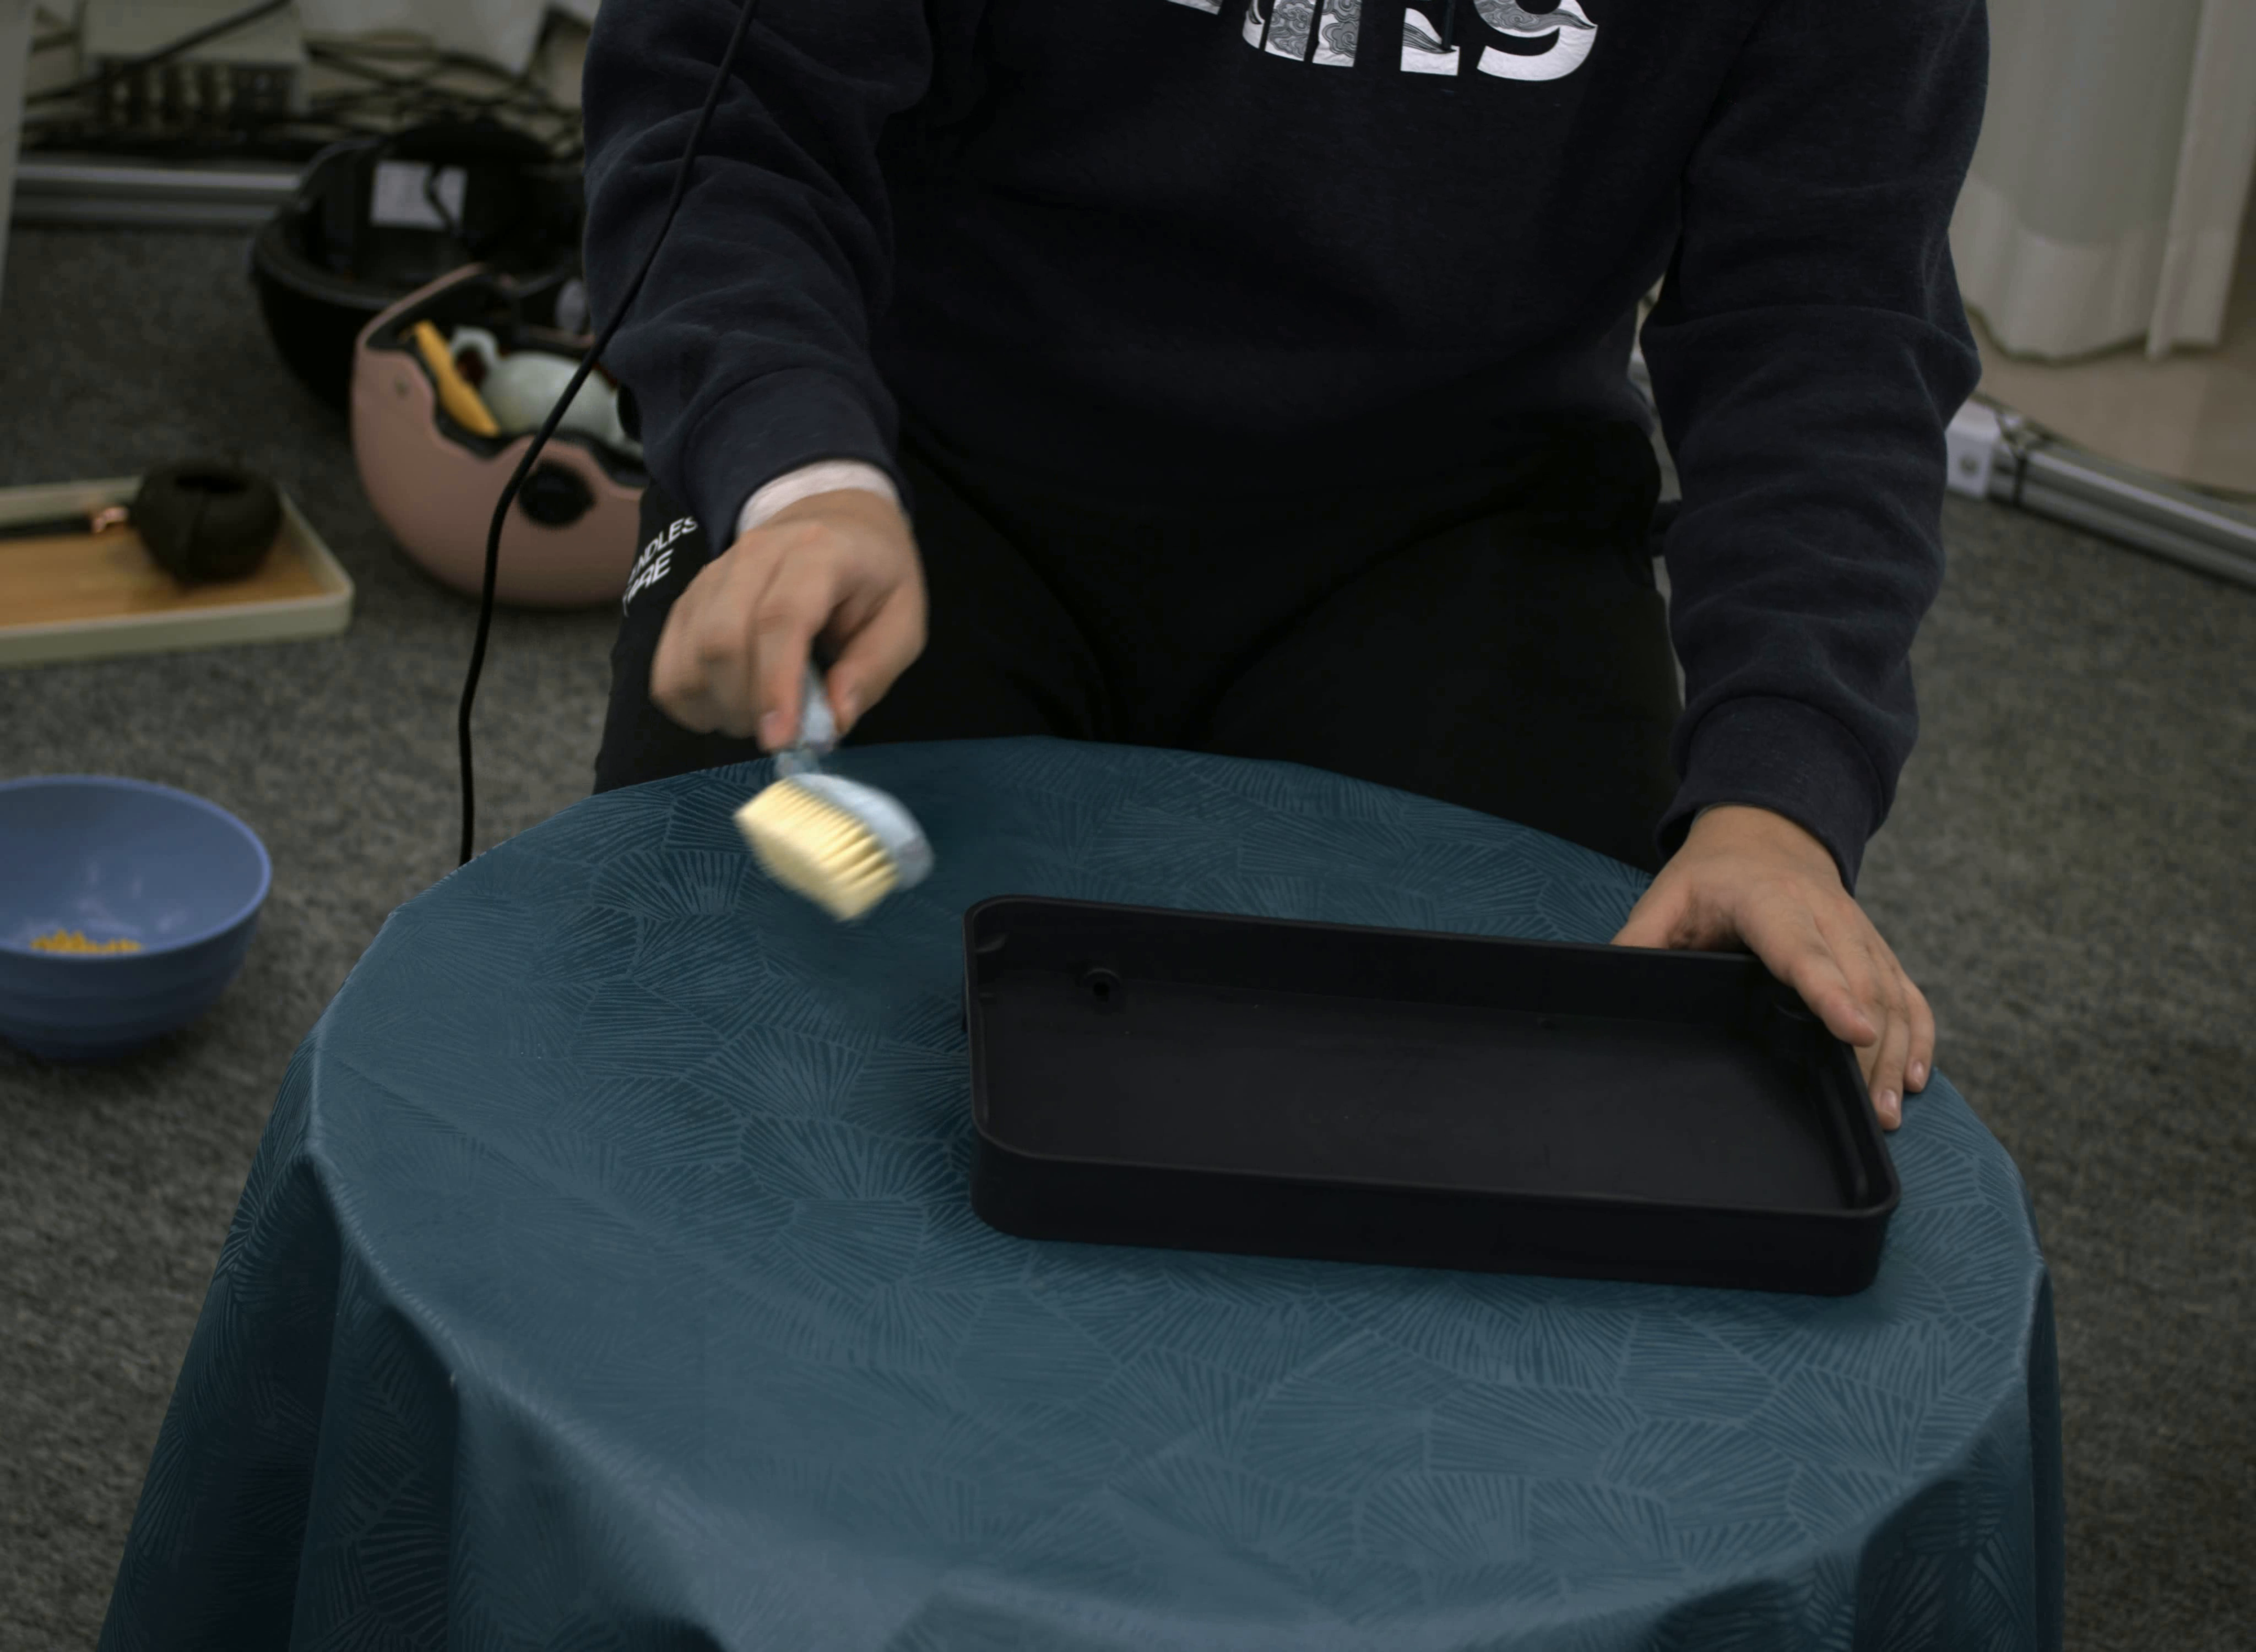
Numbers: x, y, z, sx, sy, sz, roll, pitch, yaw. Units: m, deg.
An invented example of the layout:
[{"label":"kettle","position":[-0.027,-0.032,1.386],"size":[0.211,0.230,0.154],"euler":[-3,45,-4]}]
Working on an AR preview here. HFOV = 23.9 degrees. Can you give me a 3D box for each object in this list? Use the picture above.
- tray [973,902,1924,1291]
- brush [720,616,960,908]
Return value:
[{"label":"tray","position":[0.105,0.093,1.853],"size":[0.316,0.037,0.185],"euler":[4,26,-6]},{"label":"brush","position":[-0.112,-0.027,1.859],"size":[0.049,0.037,0.230],"euler":[-38,29,-1]}]
